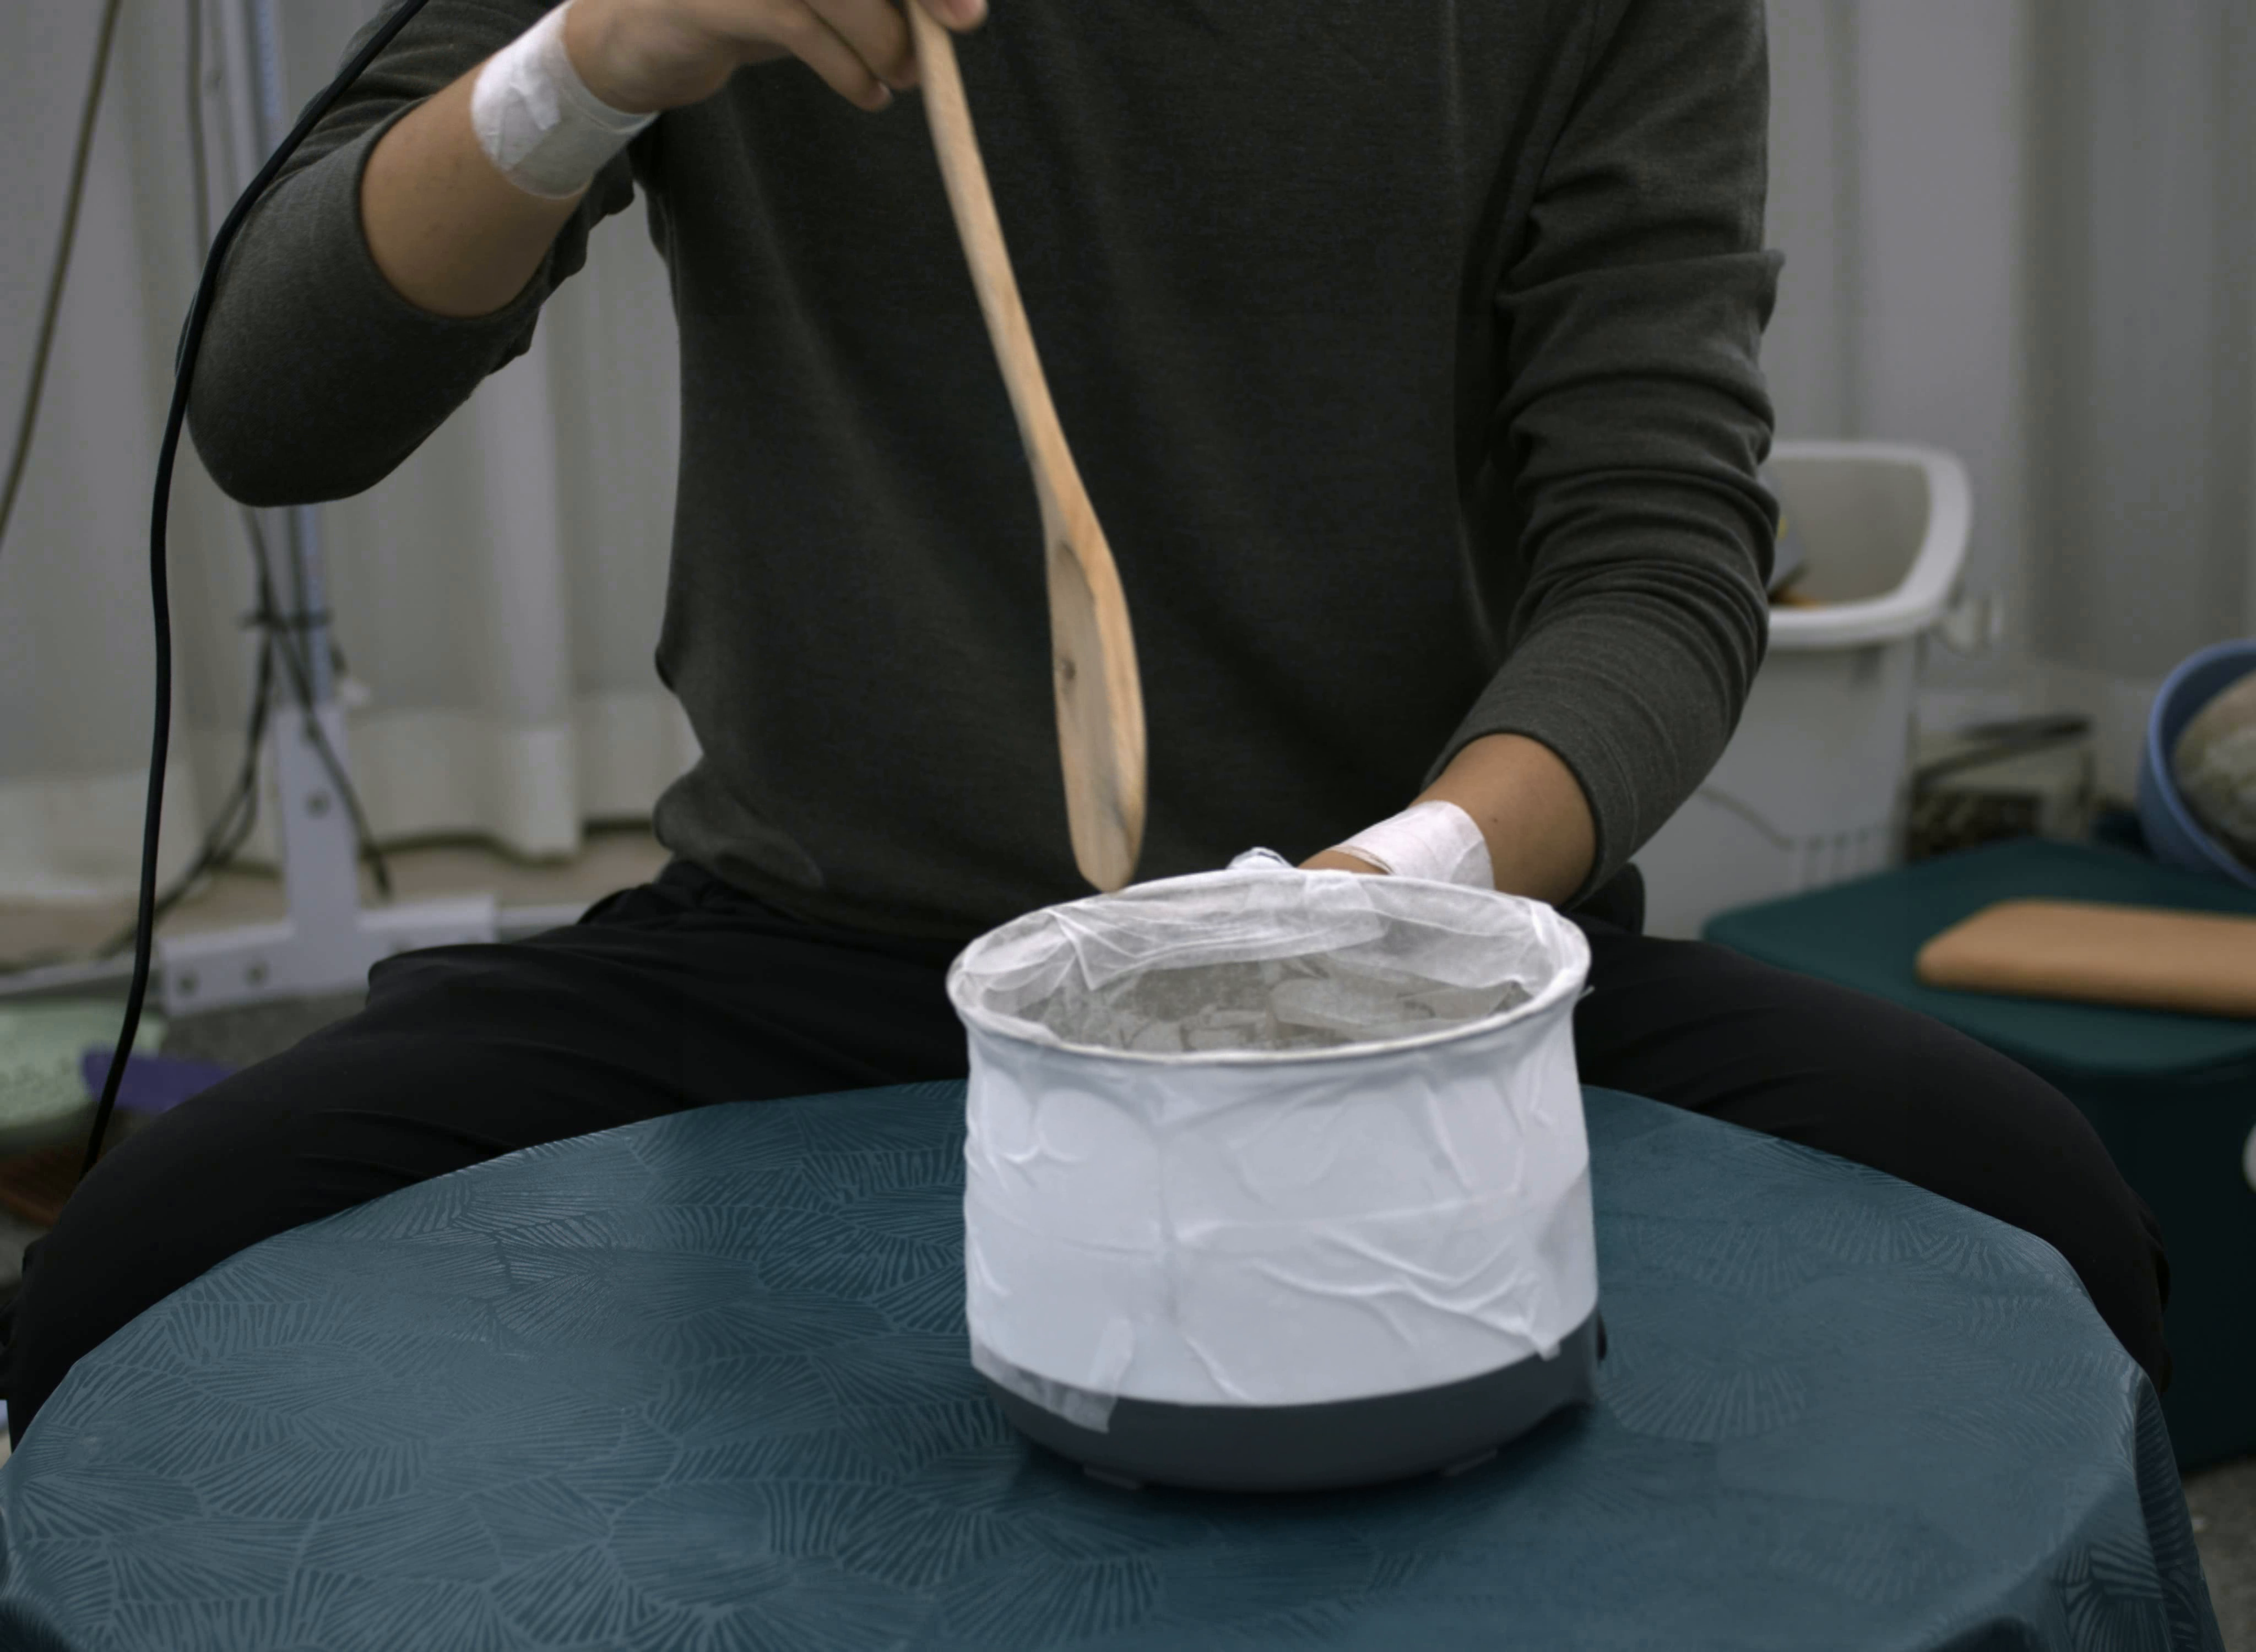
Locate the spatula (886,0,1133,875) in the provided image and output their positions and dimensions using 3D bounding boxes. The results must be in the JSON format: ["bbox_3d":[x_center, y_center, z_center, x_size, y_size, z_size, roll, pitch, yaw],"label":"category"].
[{"bbox_3d":[-0.048,-0.177,1.503,0.018,0.394,0.095,-13,-10,-12],"label":"spatula"}]

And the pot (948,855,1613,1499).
[{"bbox_3d":[0.043,0.093,1.534,0.178,0.136,0.235,-3,14,0],"label":"pot"}]
